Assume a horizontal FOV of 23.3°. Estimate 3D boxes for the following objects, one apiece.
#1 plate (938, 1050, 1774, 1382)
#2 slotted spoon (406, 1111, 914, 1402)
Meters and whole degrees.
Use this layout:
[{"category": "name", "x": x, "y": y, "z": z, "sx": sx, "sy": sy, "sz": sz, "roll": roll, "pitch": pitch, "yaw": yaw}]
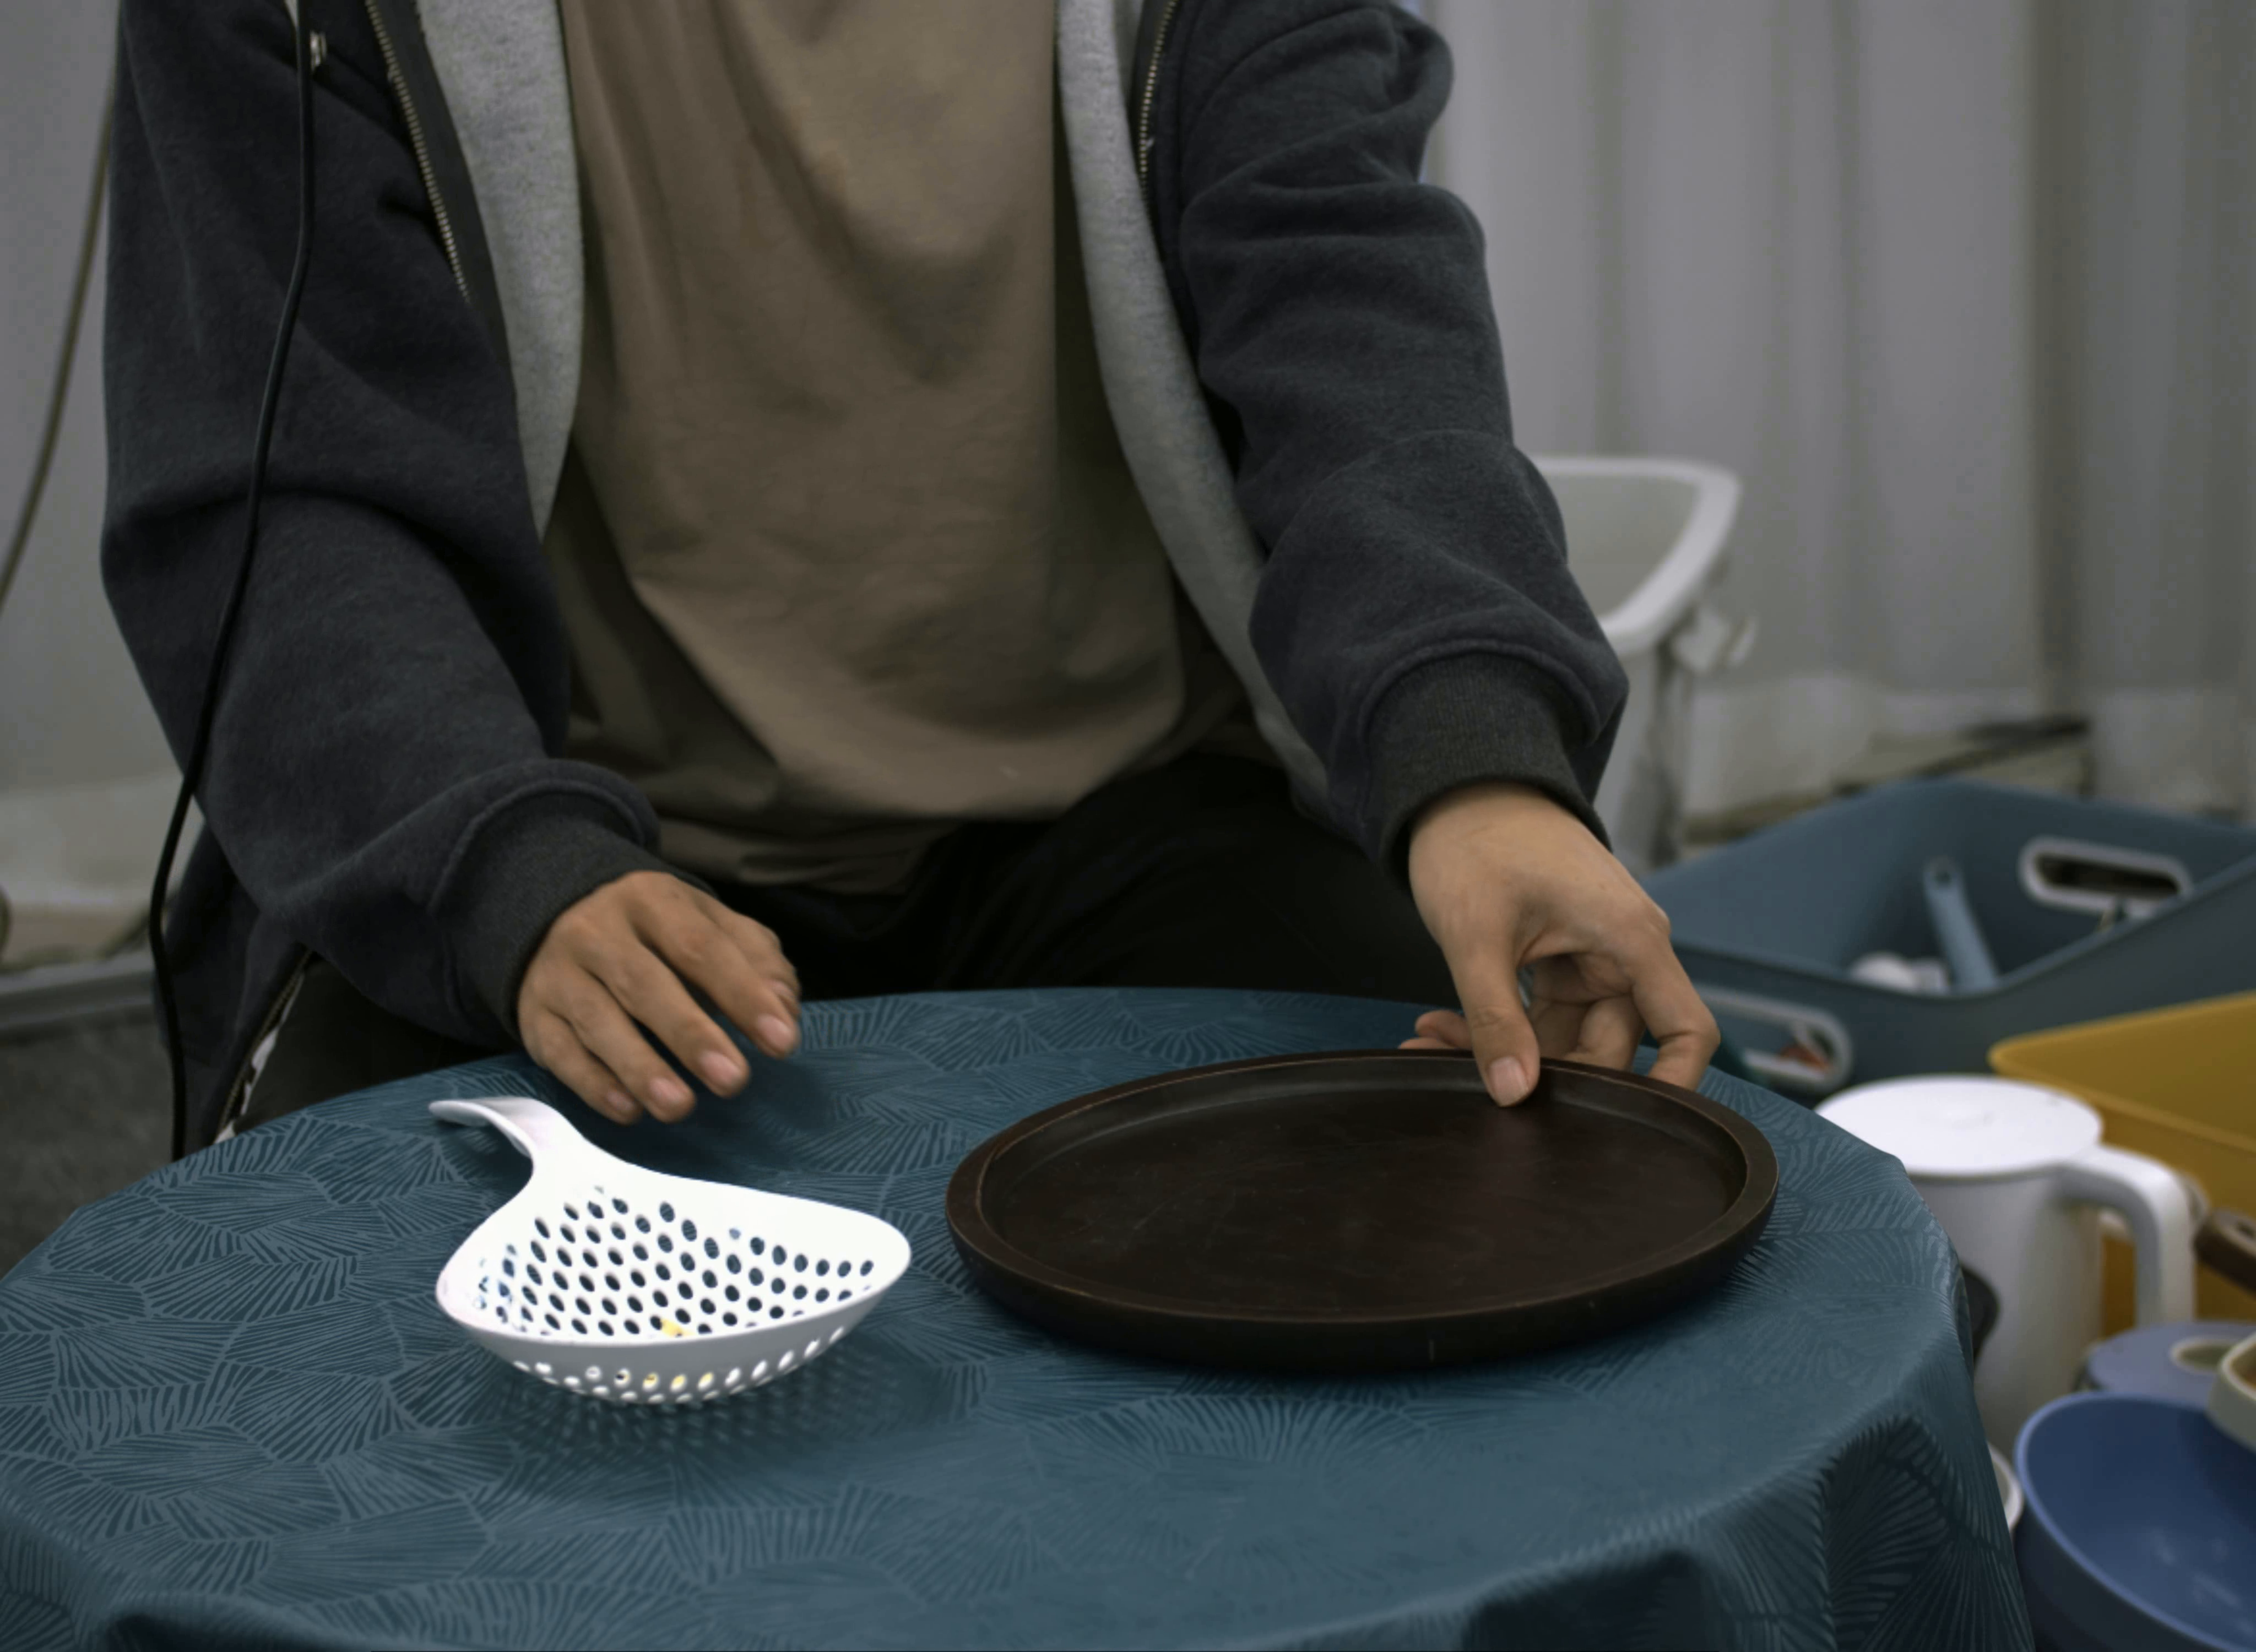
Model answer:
[{"category": "plate", "x": 0.069, "y": 0.115, "z": 1.655, "sx": 0.254, "sy": 0.029, "sz": 0.256, "roll": -4, "pitch": 15, "yaw": 1}, {"category": "slotted spoon", "x": -0.167, "y": 0.117, "z": 1.662, "sx": 0.136, "sy": 0.050, "sz": 0.351, "roll": -10, "pitch": 17, "yaw": -19}]
